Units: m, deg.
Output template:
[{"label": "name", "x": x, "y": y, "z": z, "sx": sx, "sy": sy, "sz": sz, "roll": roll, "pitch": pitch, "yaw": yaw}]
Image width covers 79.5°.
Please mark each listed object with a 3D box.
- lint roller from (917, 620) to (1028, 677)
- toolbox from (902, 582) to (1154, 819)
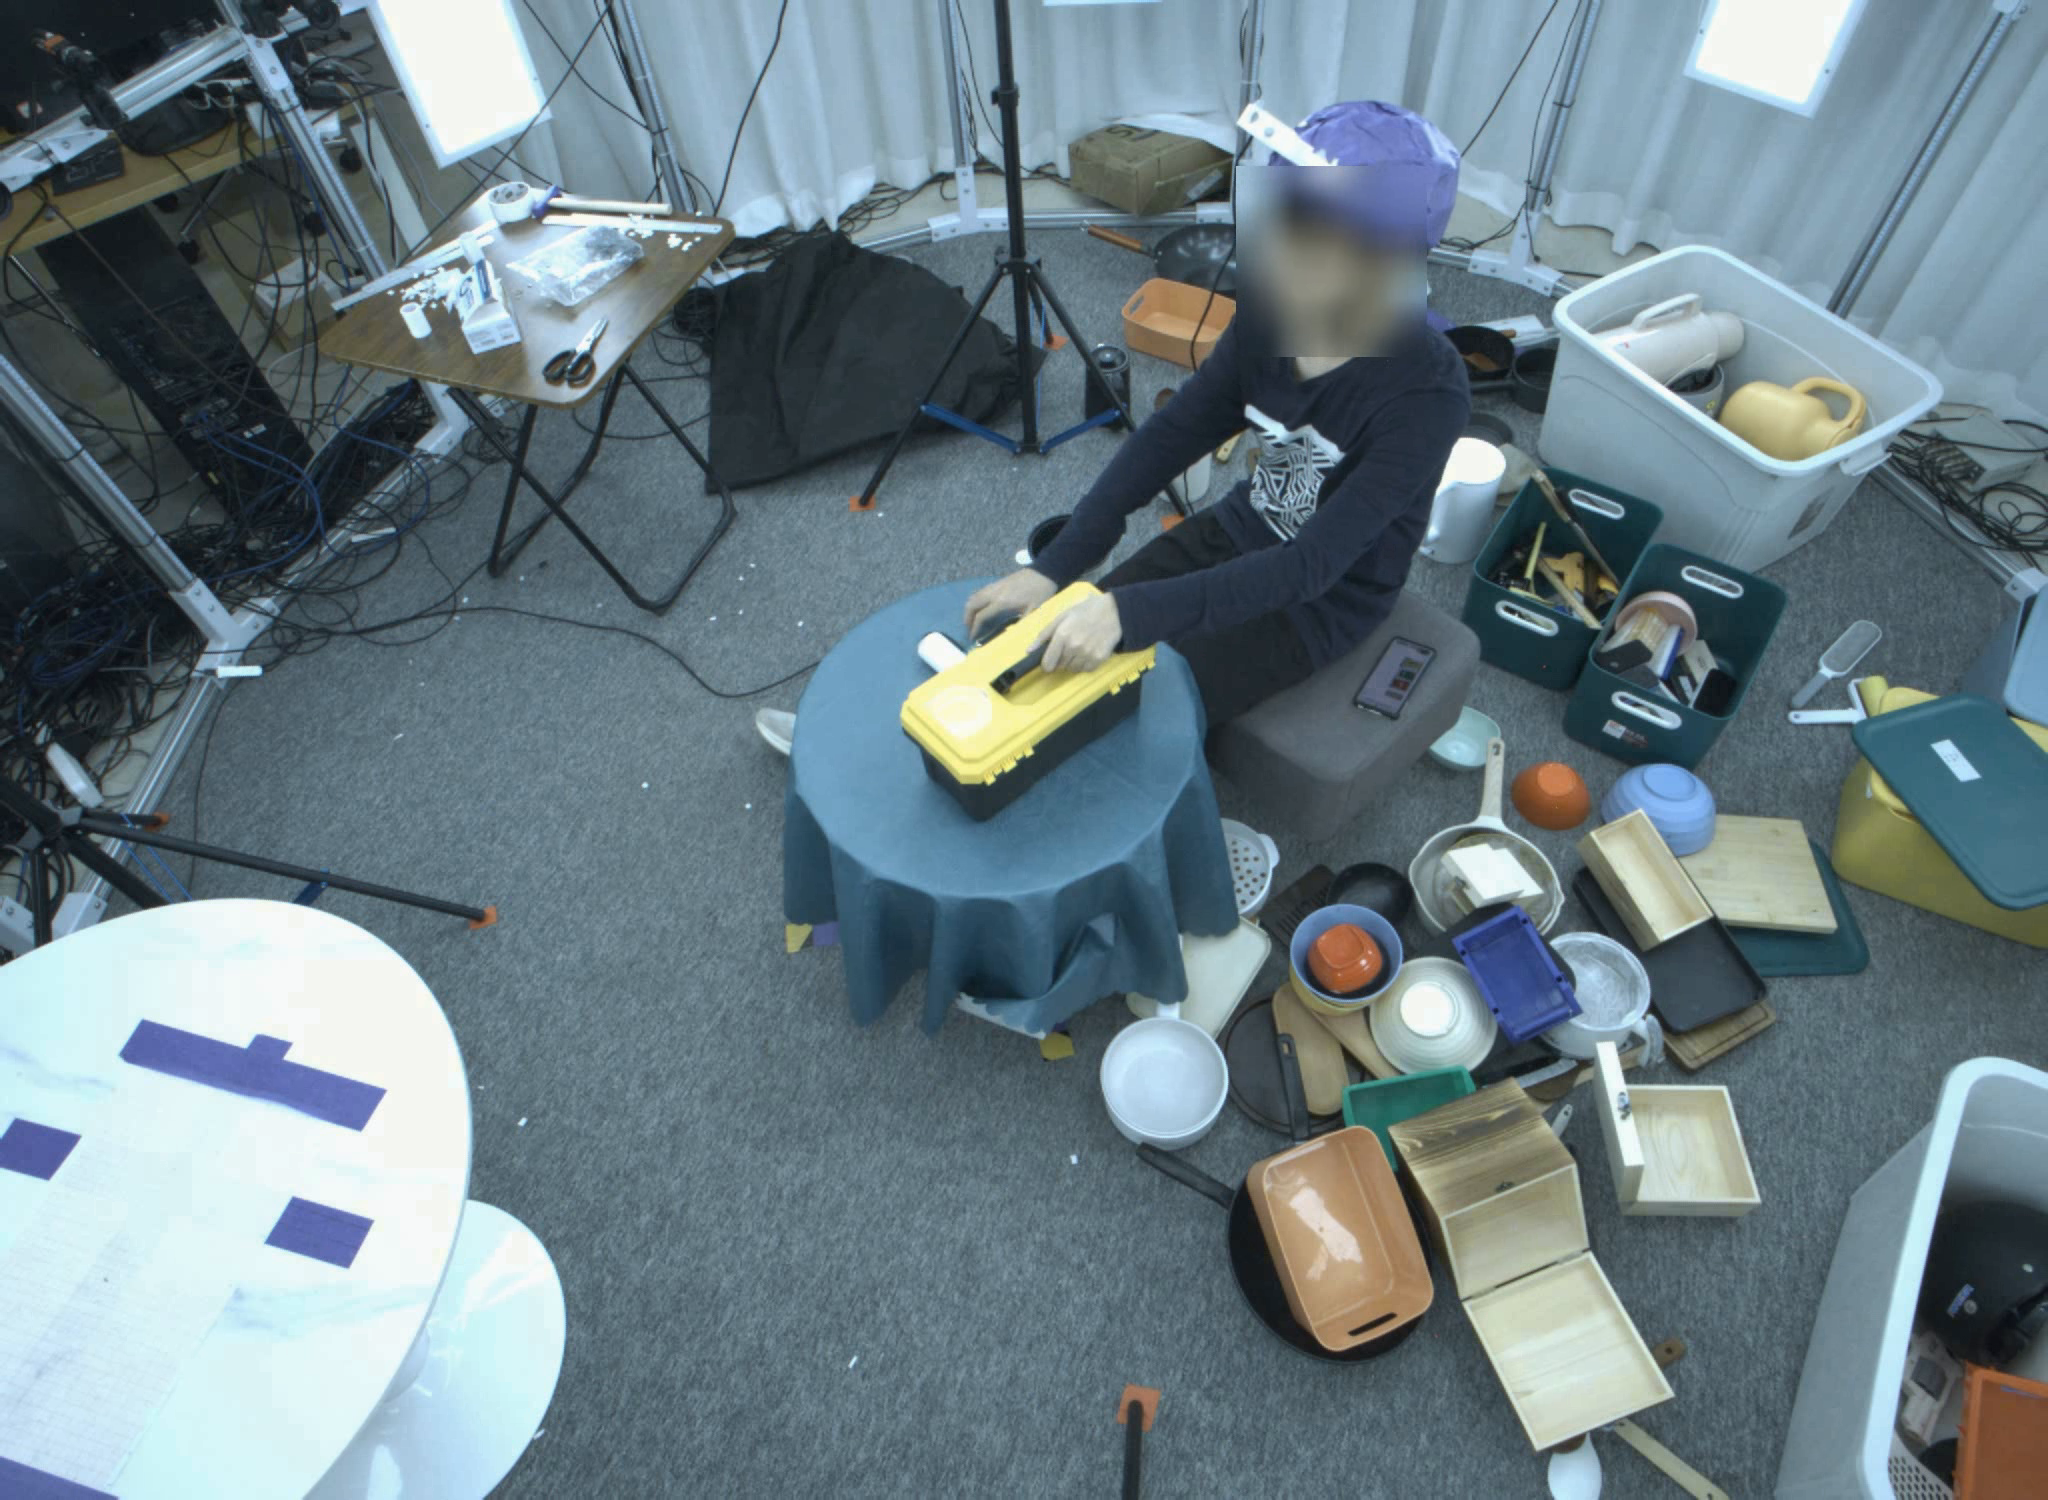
[{"label": "lint roller", "x": -0.063, "y": -0.168, "z": 1.893, "sx": 0.182, "sy": 0.049, "sz": 0.132, "roll": -35, "pitch": 59, "yaw": -26}, {"label": "toolbox", "x": 0.010, "y": -0.070, "z": 1.738, "sx": 0.354, "sy": 0.174, "sz": 0.178, "roll": -36, "pitch": 61, "yaw": -22}]
